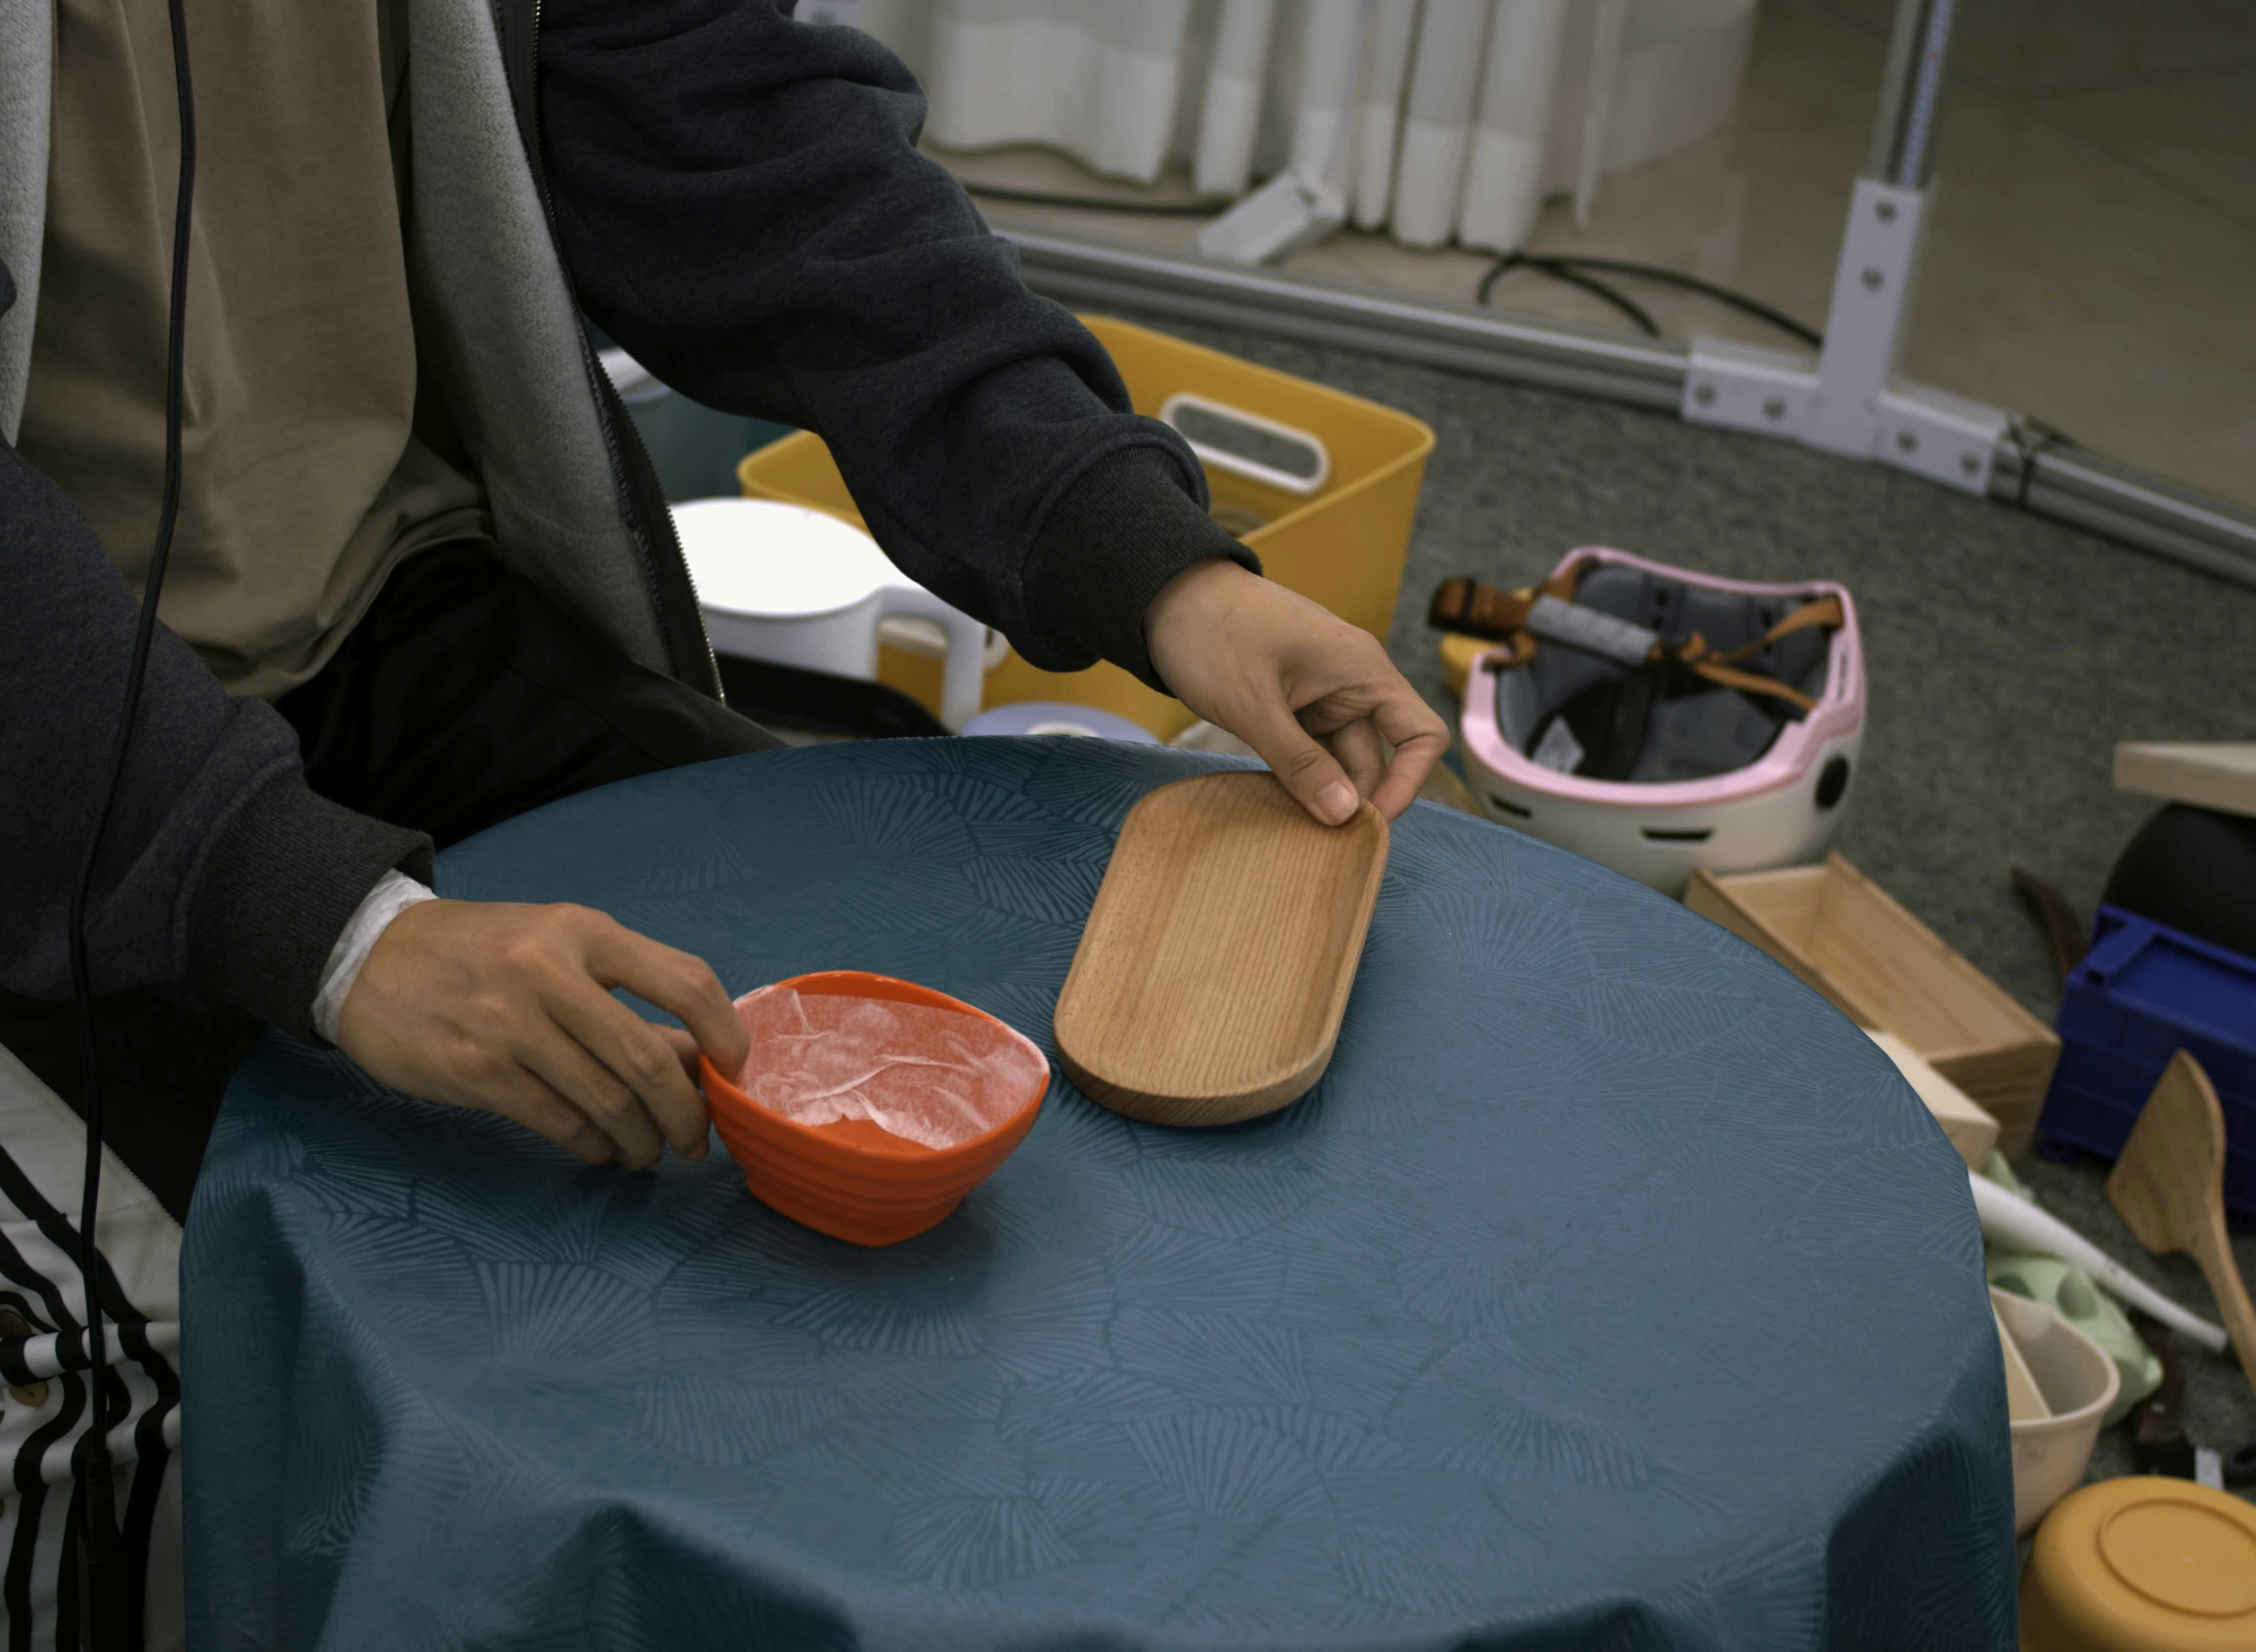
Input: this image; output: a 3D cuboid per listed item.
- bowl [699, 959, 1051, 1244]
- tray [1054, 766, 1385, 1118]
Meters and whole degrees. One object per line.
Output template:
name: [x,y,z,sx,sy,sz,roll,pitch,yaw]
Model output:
bowl: [-0.087,0.096,1.771,0.118,0.051,0.119,8,29,-5]
tray: [0.035,0.040,1.936,0.101,0.020,0.232,4,29,9]
